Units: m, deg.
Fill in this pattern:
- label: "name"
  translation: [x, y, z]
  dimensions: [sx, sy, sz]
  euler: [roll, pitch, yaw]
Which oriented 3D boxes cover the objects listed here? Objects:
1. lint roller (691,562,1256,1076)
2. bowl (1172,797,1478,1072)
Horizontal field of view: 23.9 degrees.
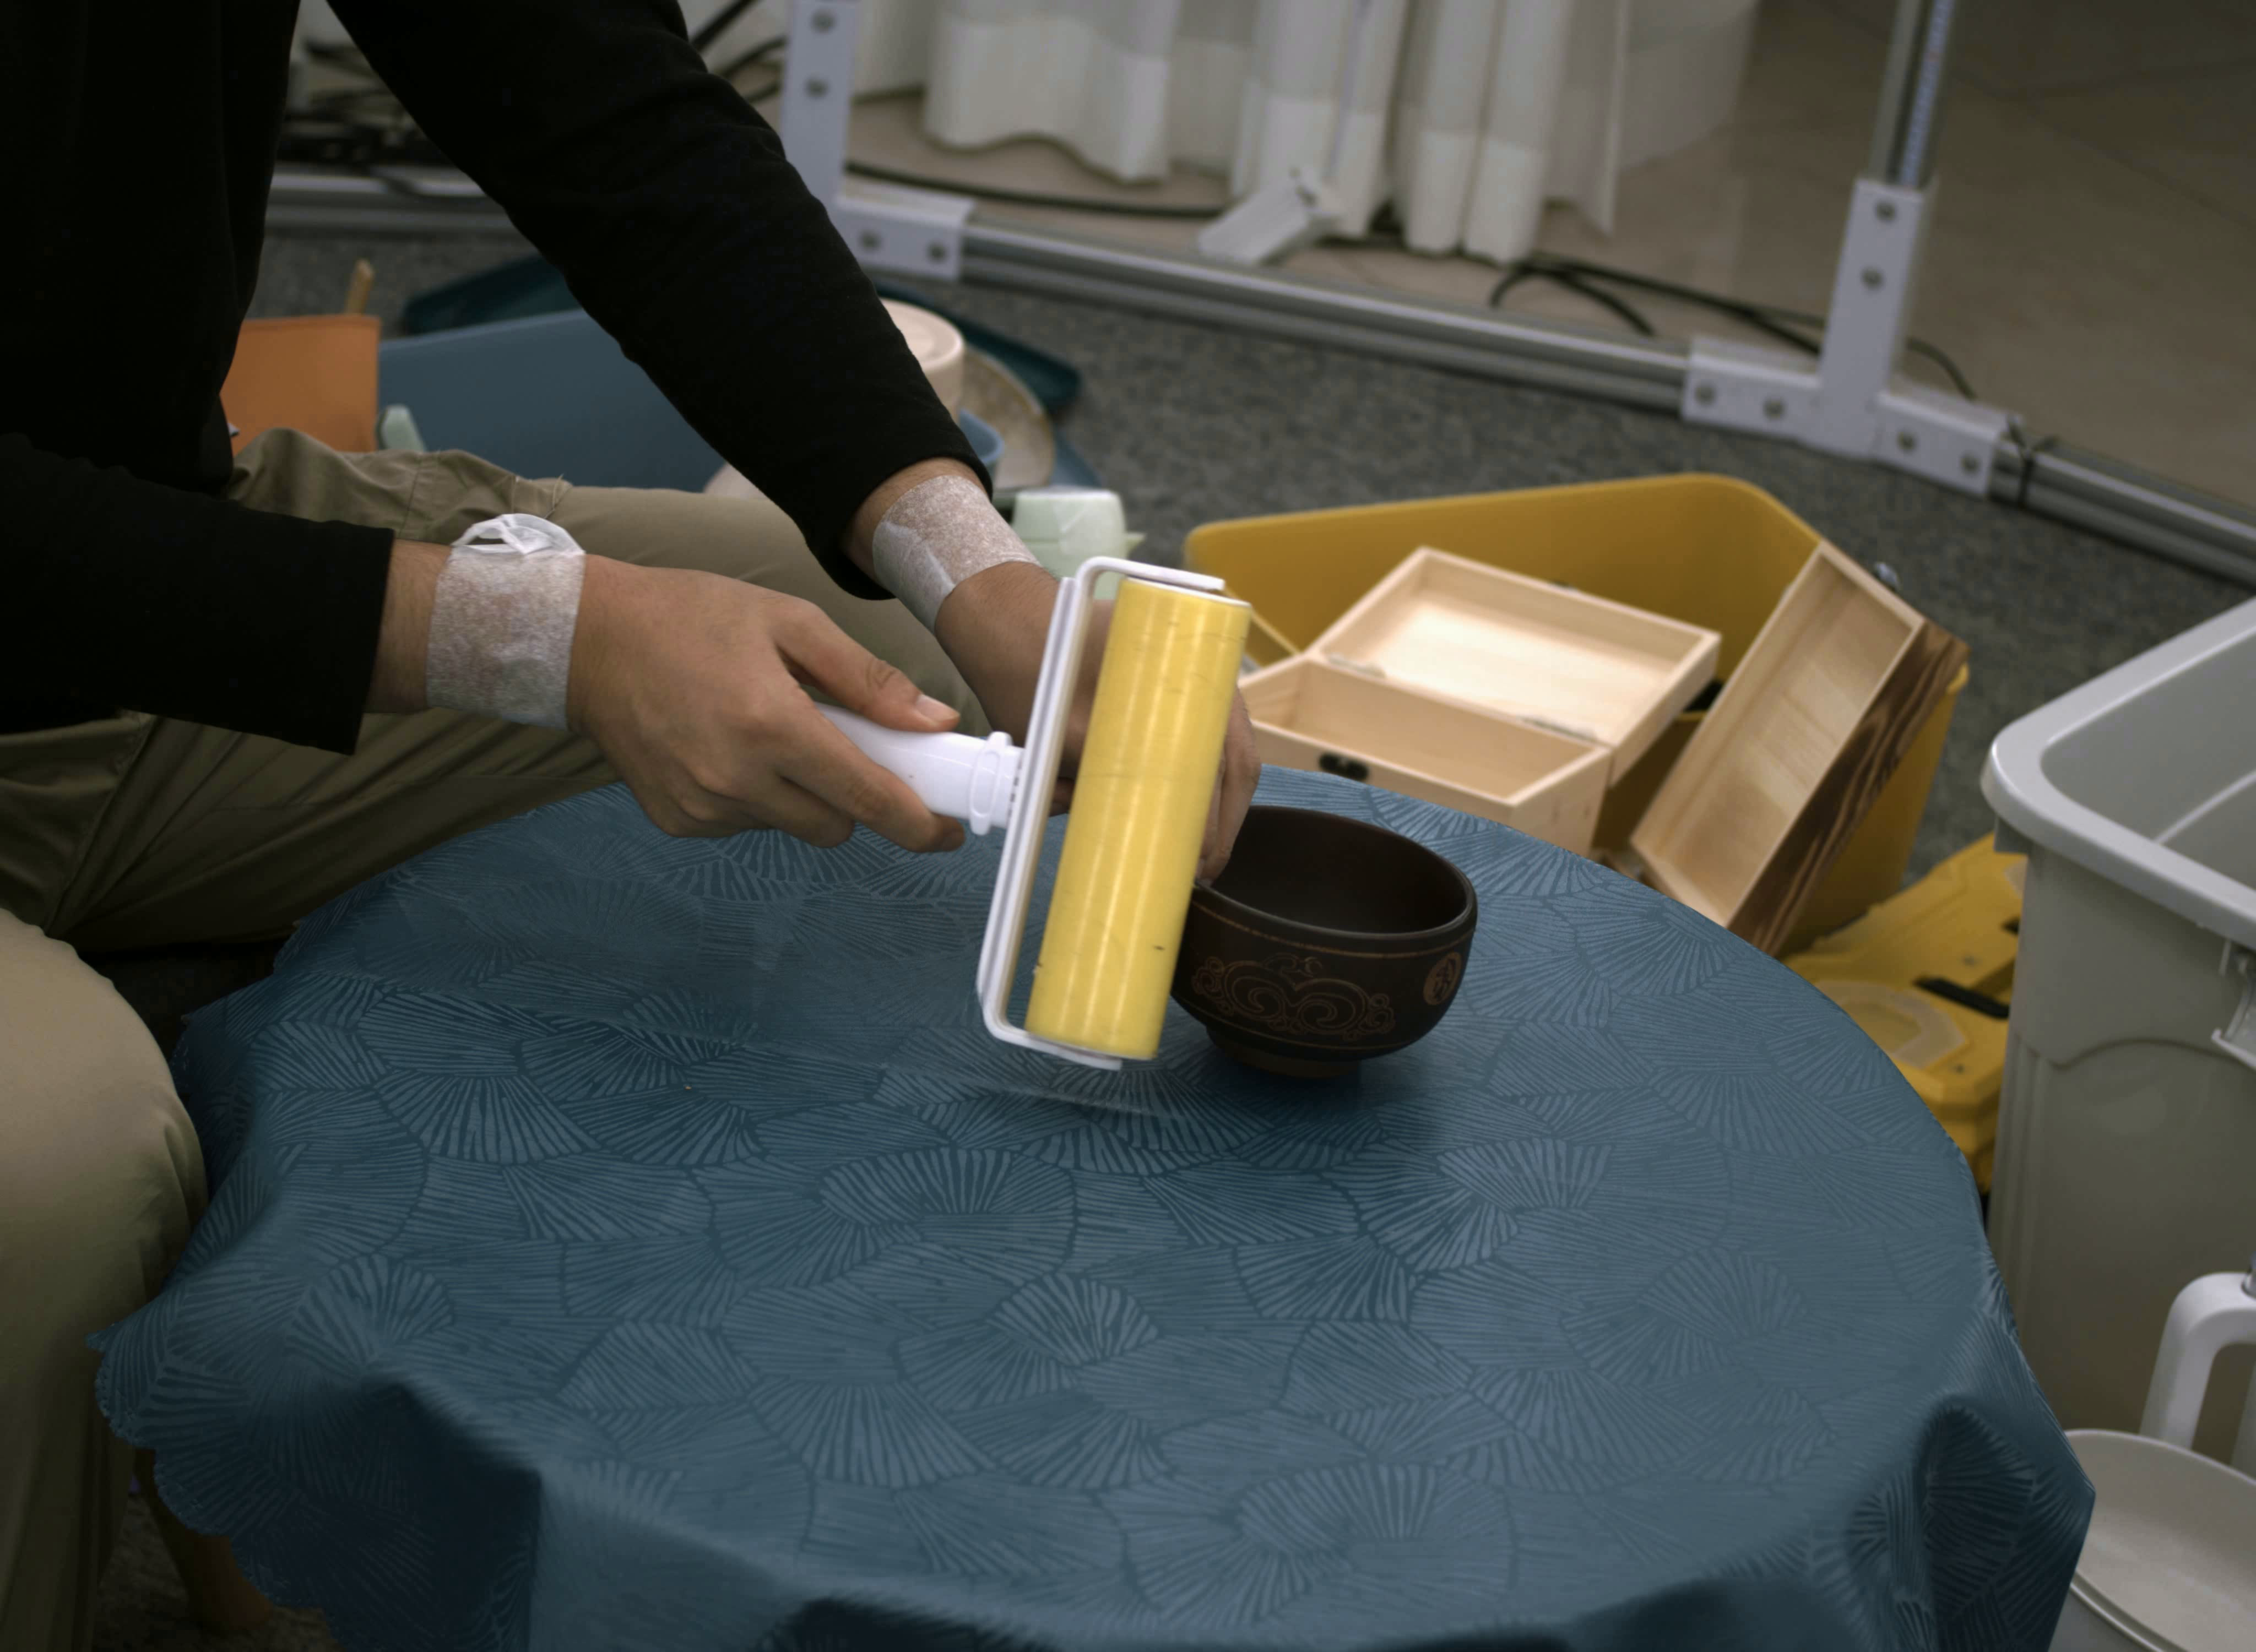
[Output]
- label: "lint roller"
  translation: [-0.063, -0.014, 1.845]
  dimensions: [0.192, 0.174, 0.051]
  euler: [11, 1, 8]
- label: "bowl"
  translation: [0.061, 0.044, 1.884]
  dimensions: [0.117, 0.070, 0.118]
  euler: [10, 21, -4]
